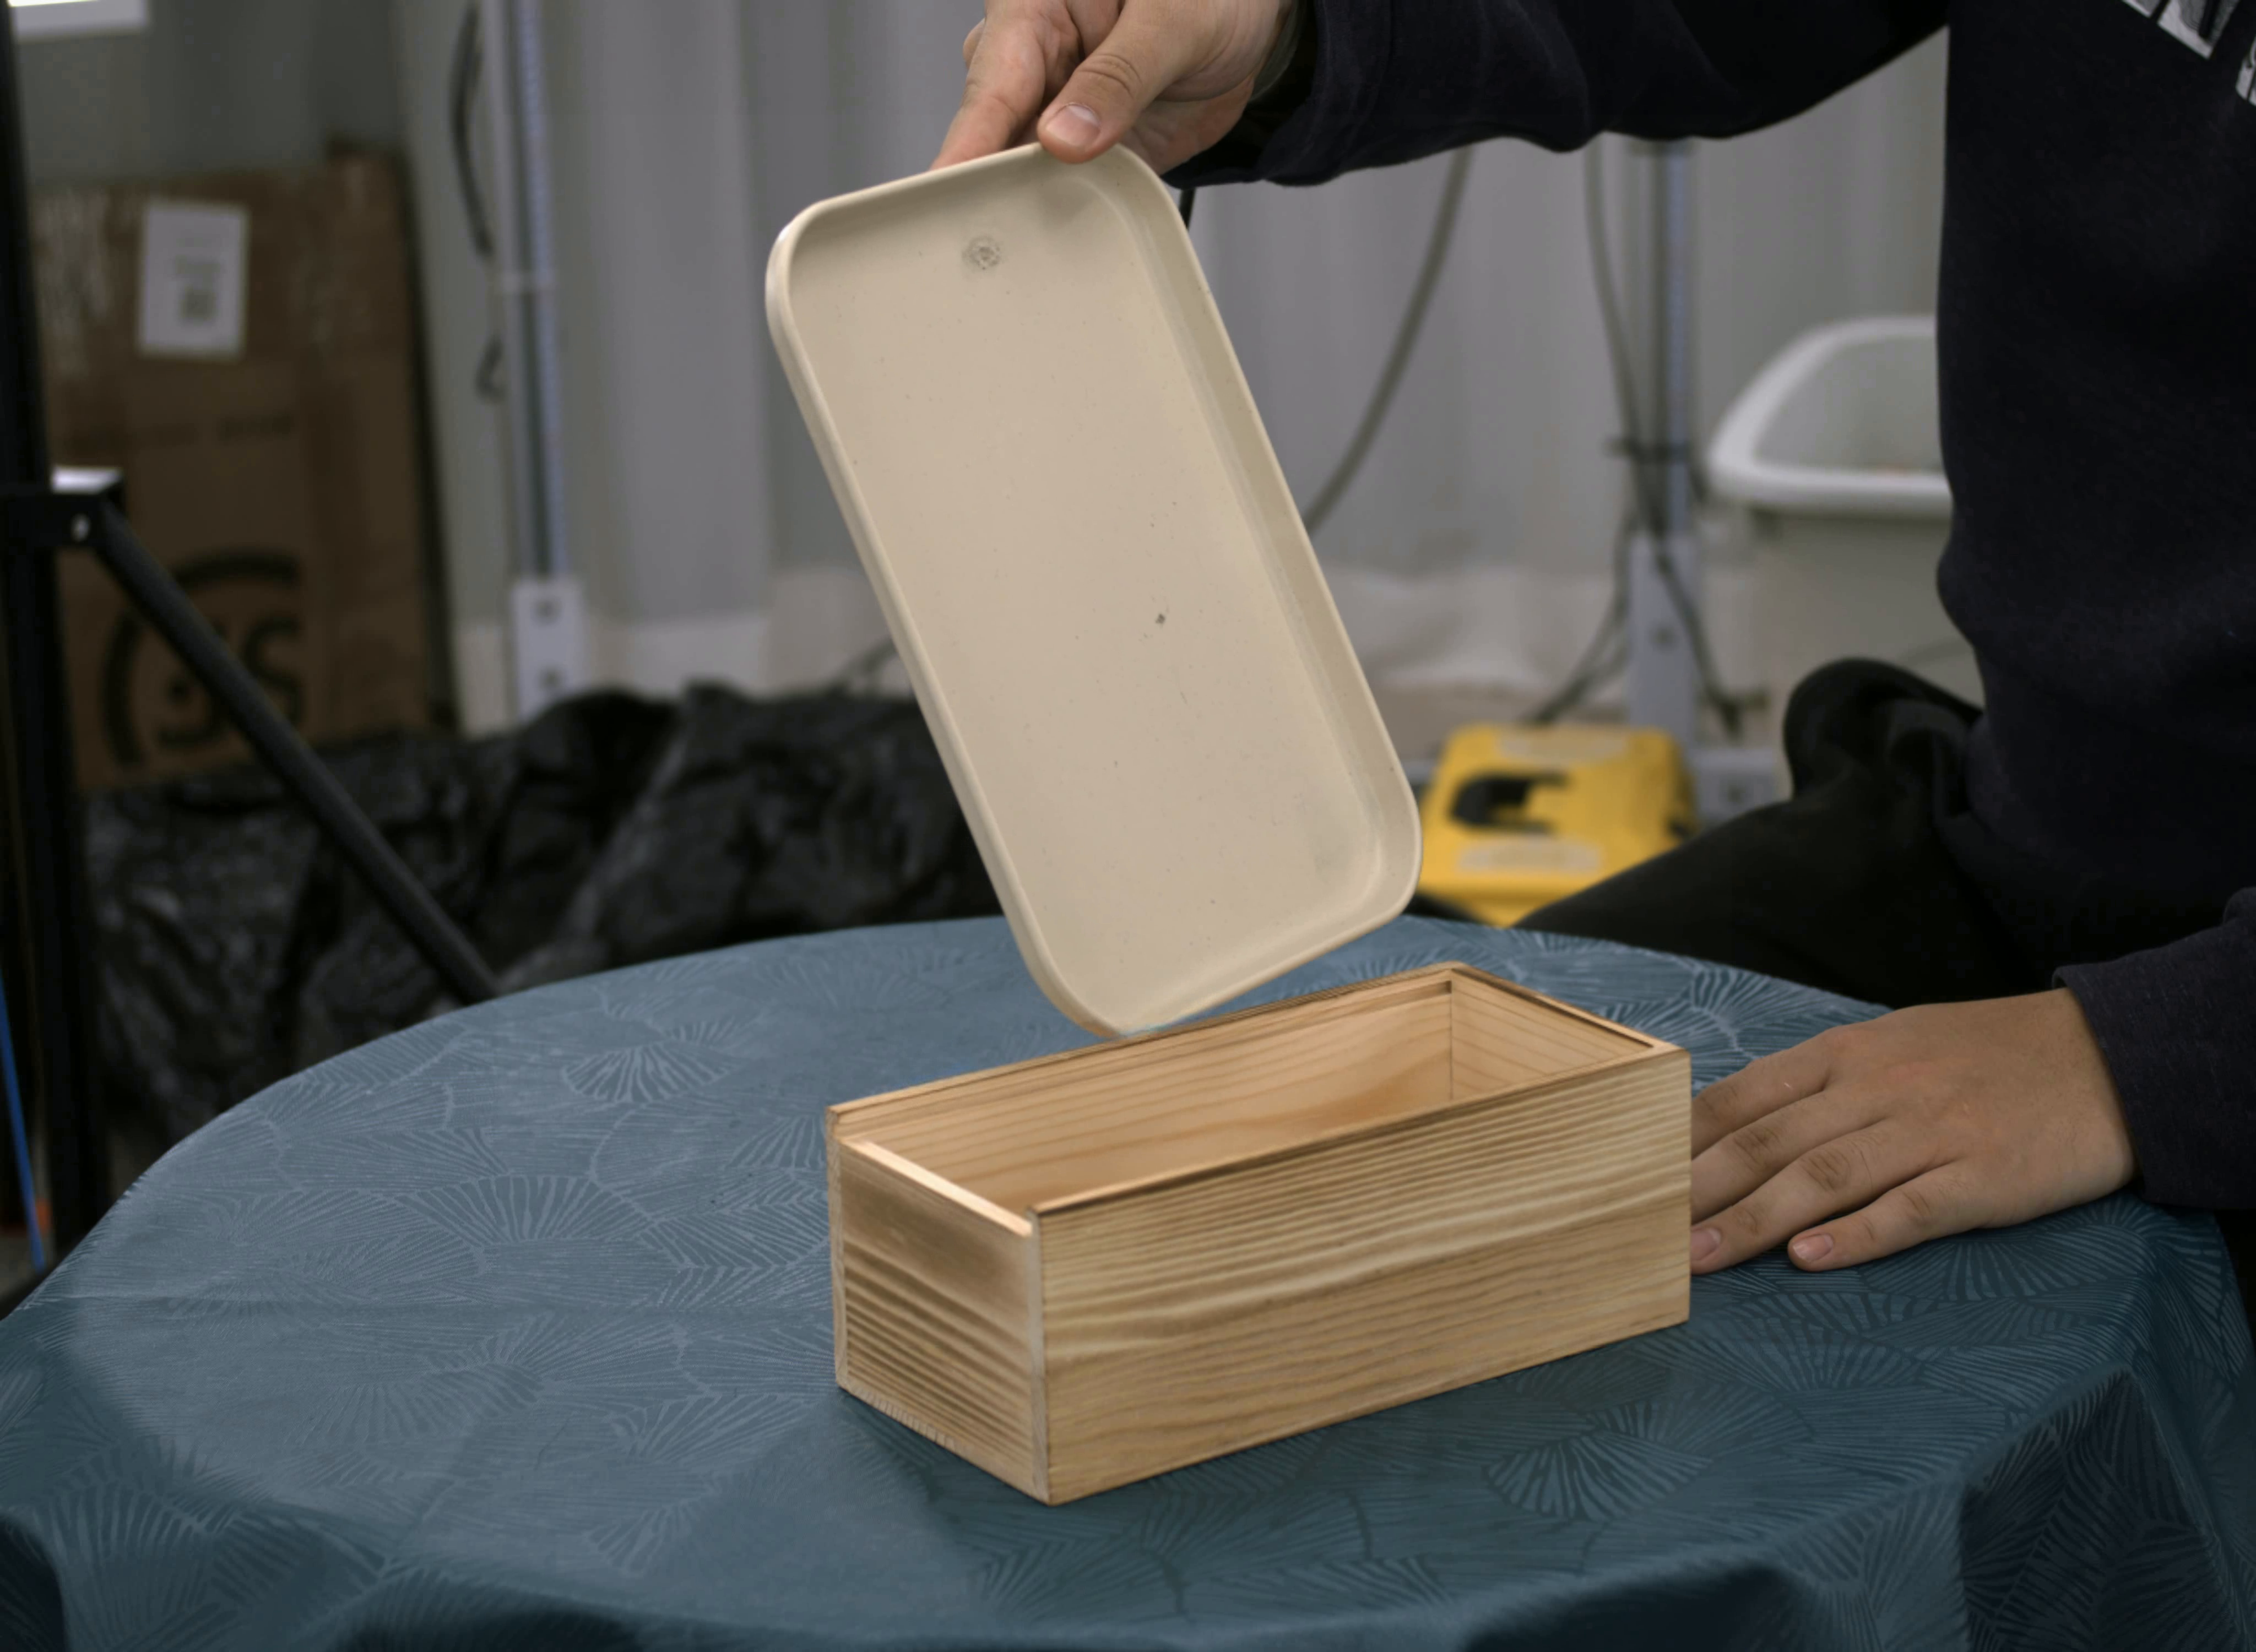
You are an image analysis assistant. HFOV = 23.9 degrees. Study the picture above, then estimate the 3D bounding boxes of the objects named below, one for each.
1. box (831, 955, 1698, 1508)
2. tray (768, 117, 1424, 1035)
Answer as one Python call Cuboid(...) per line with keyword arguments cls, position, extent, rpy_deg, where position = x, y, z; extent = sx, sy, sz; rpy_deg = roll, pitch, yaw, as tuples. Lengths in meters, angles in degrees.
Cuboid(cls="box", position=(0.038, 0.104, 1.418), extent=(0.206, 0.080, 0.110), rpy_deg=(-12, 19, -31))
Cuboid(cls="tray", position=(-0.008, -0.069, 1.447), extent=(0.018, 0.240, 0.168), rpy_deg=(-23, -1, 41))
